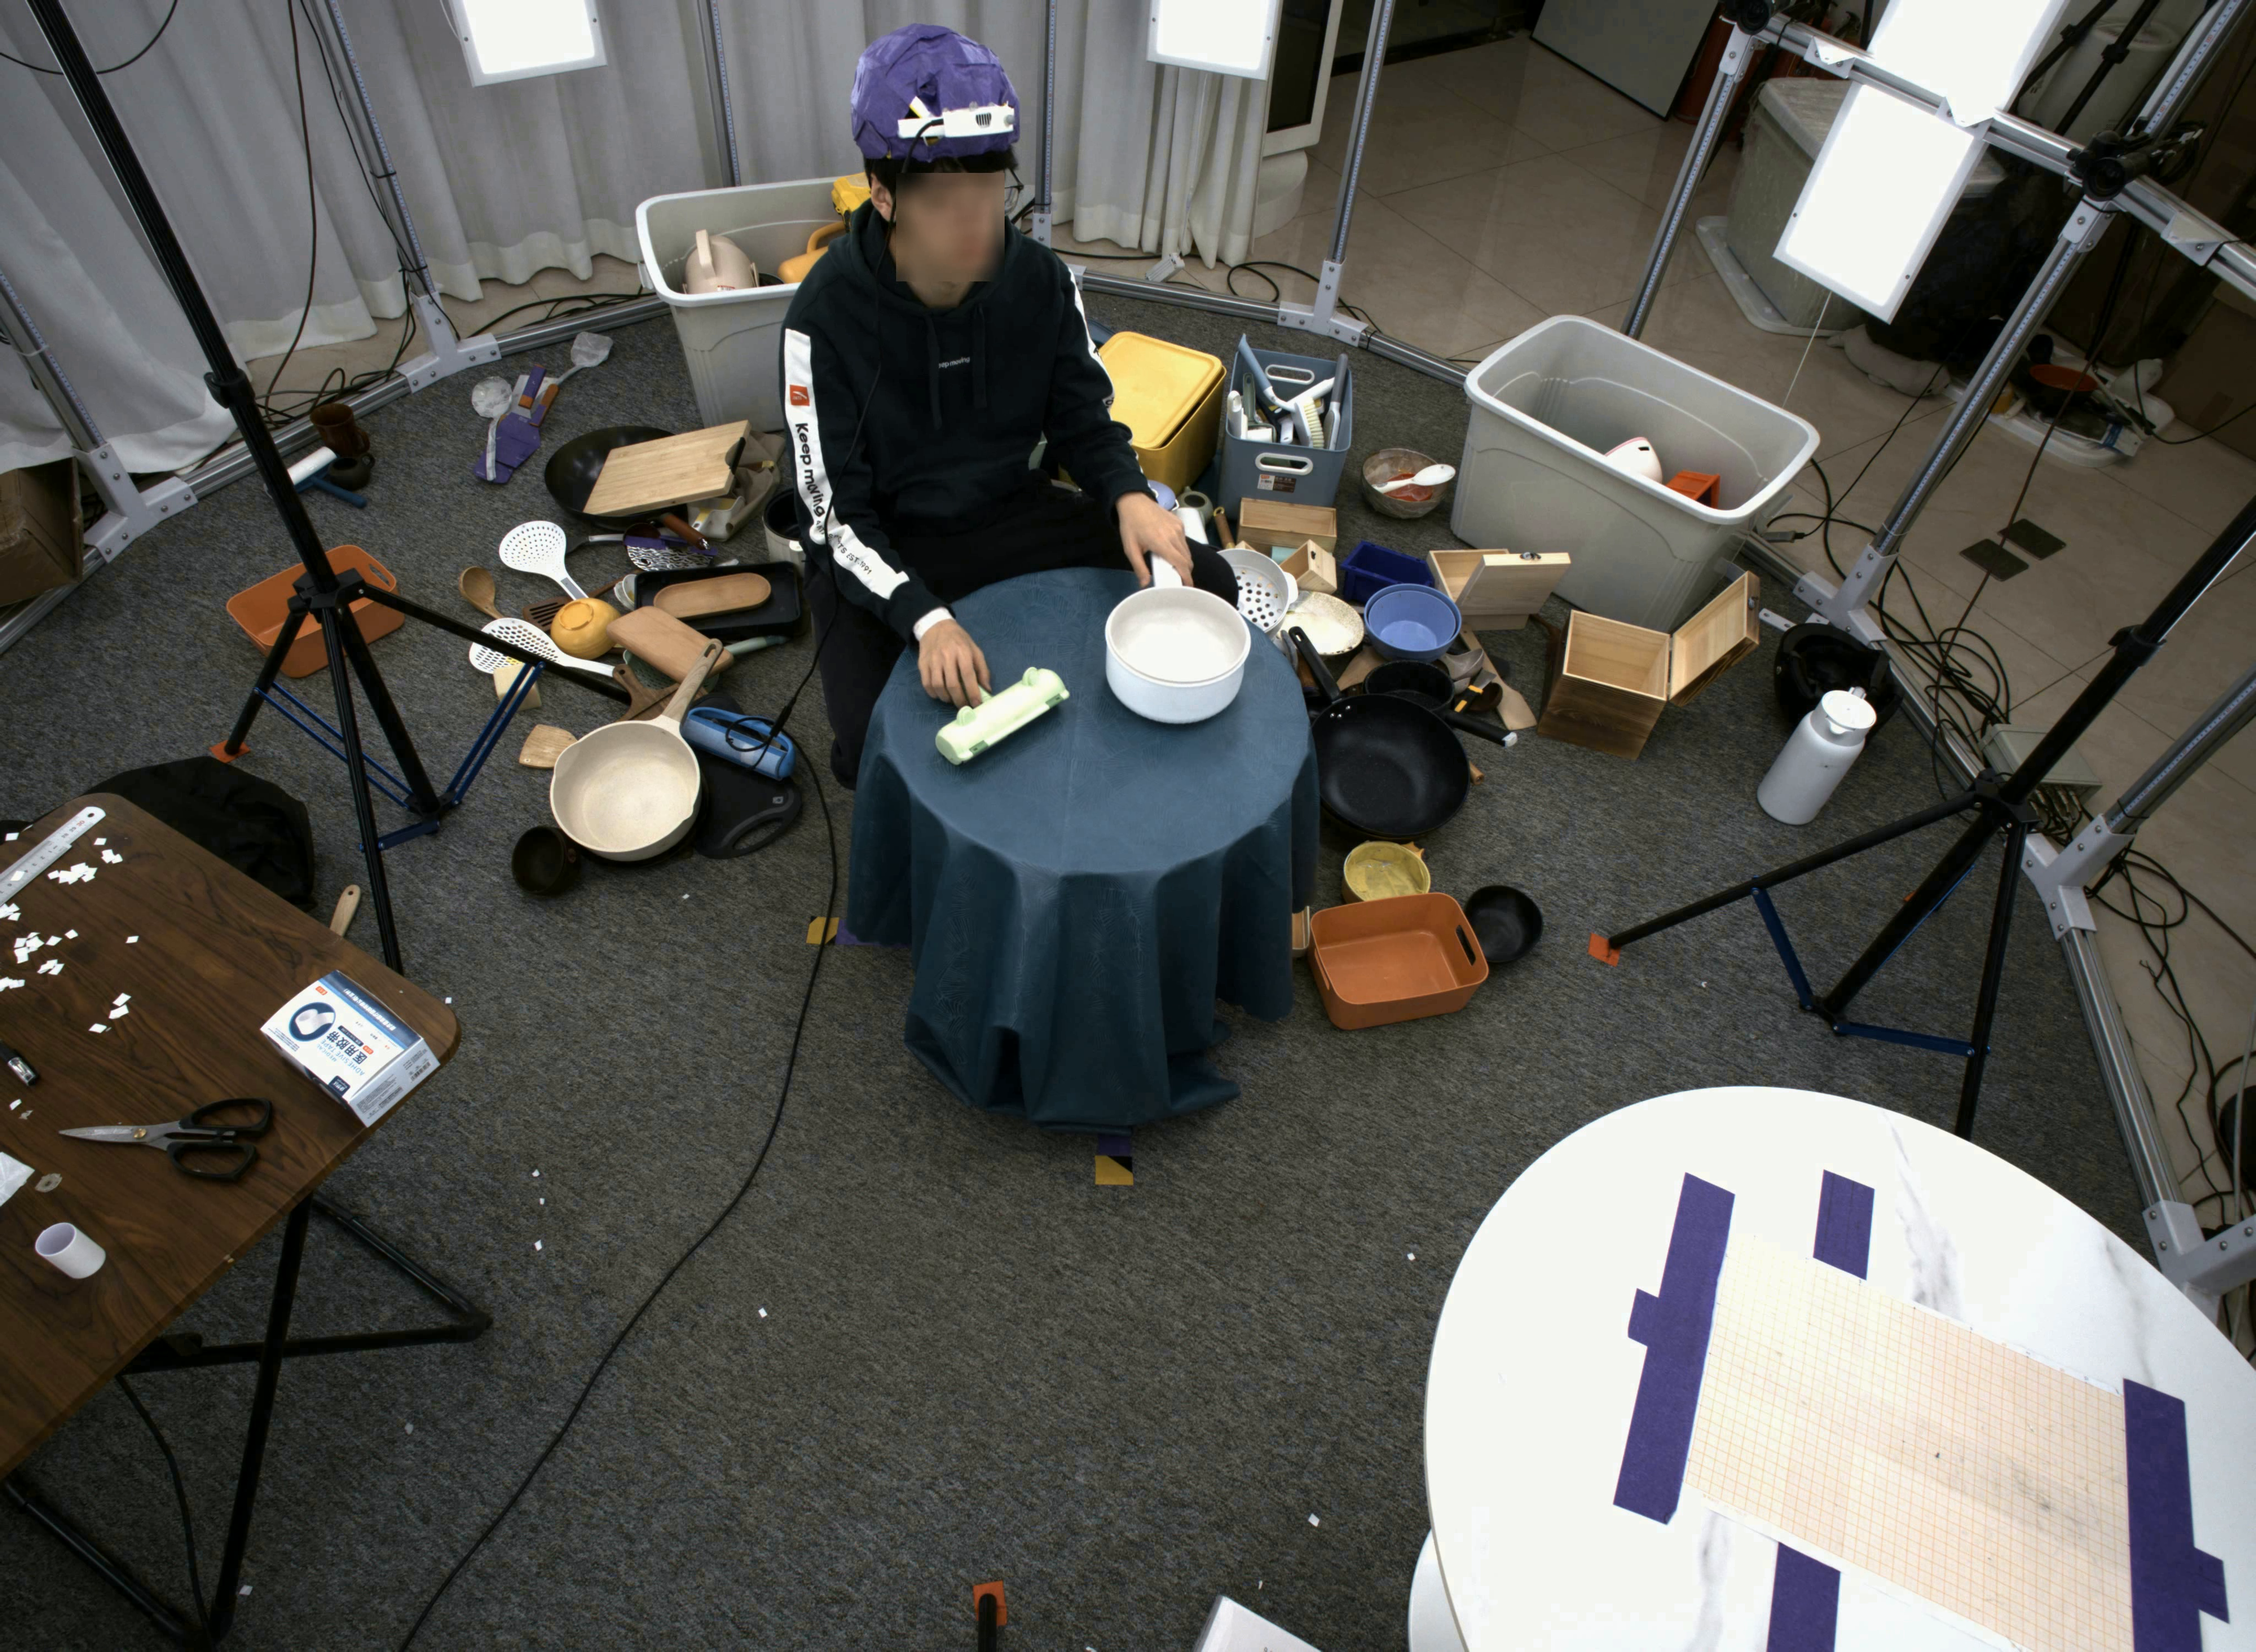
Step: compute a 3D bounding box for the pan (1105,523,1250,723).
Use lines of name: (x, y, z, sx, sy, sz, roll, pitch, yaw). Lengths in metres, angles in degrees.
pan: (0.061, -0.295, 1.866, 0.201, 0.099, 0.364, -2, 48, -4)

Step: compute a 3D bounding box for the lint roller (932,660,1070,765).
lint roller: (-0.209, -0.190, 1.771, 0.200, 0.080, 0.186, -35, 64, -28)
